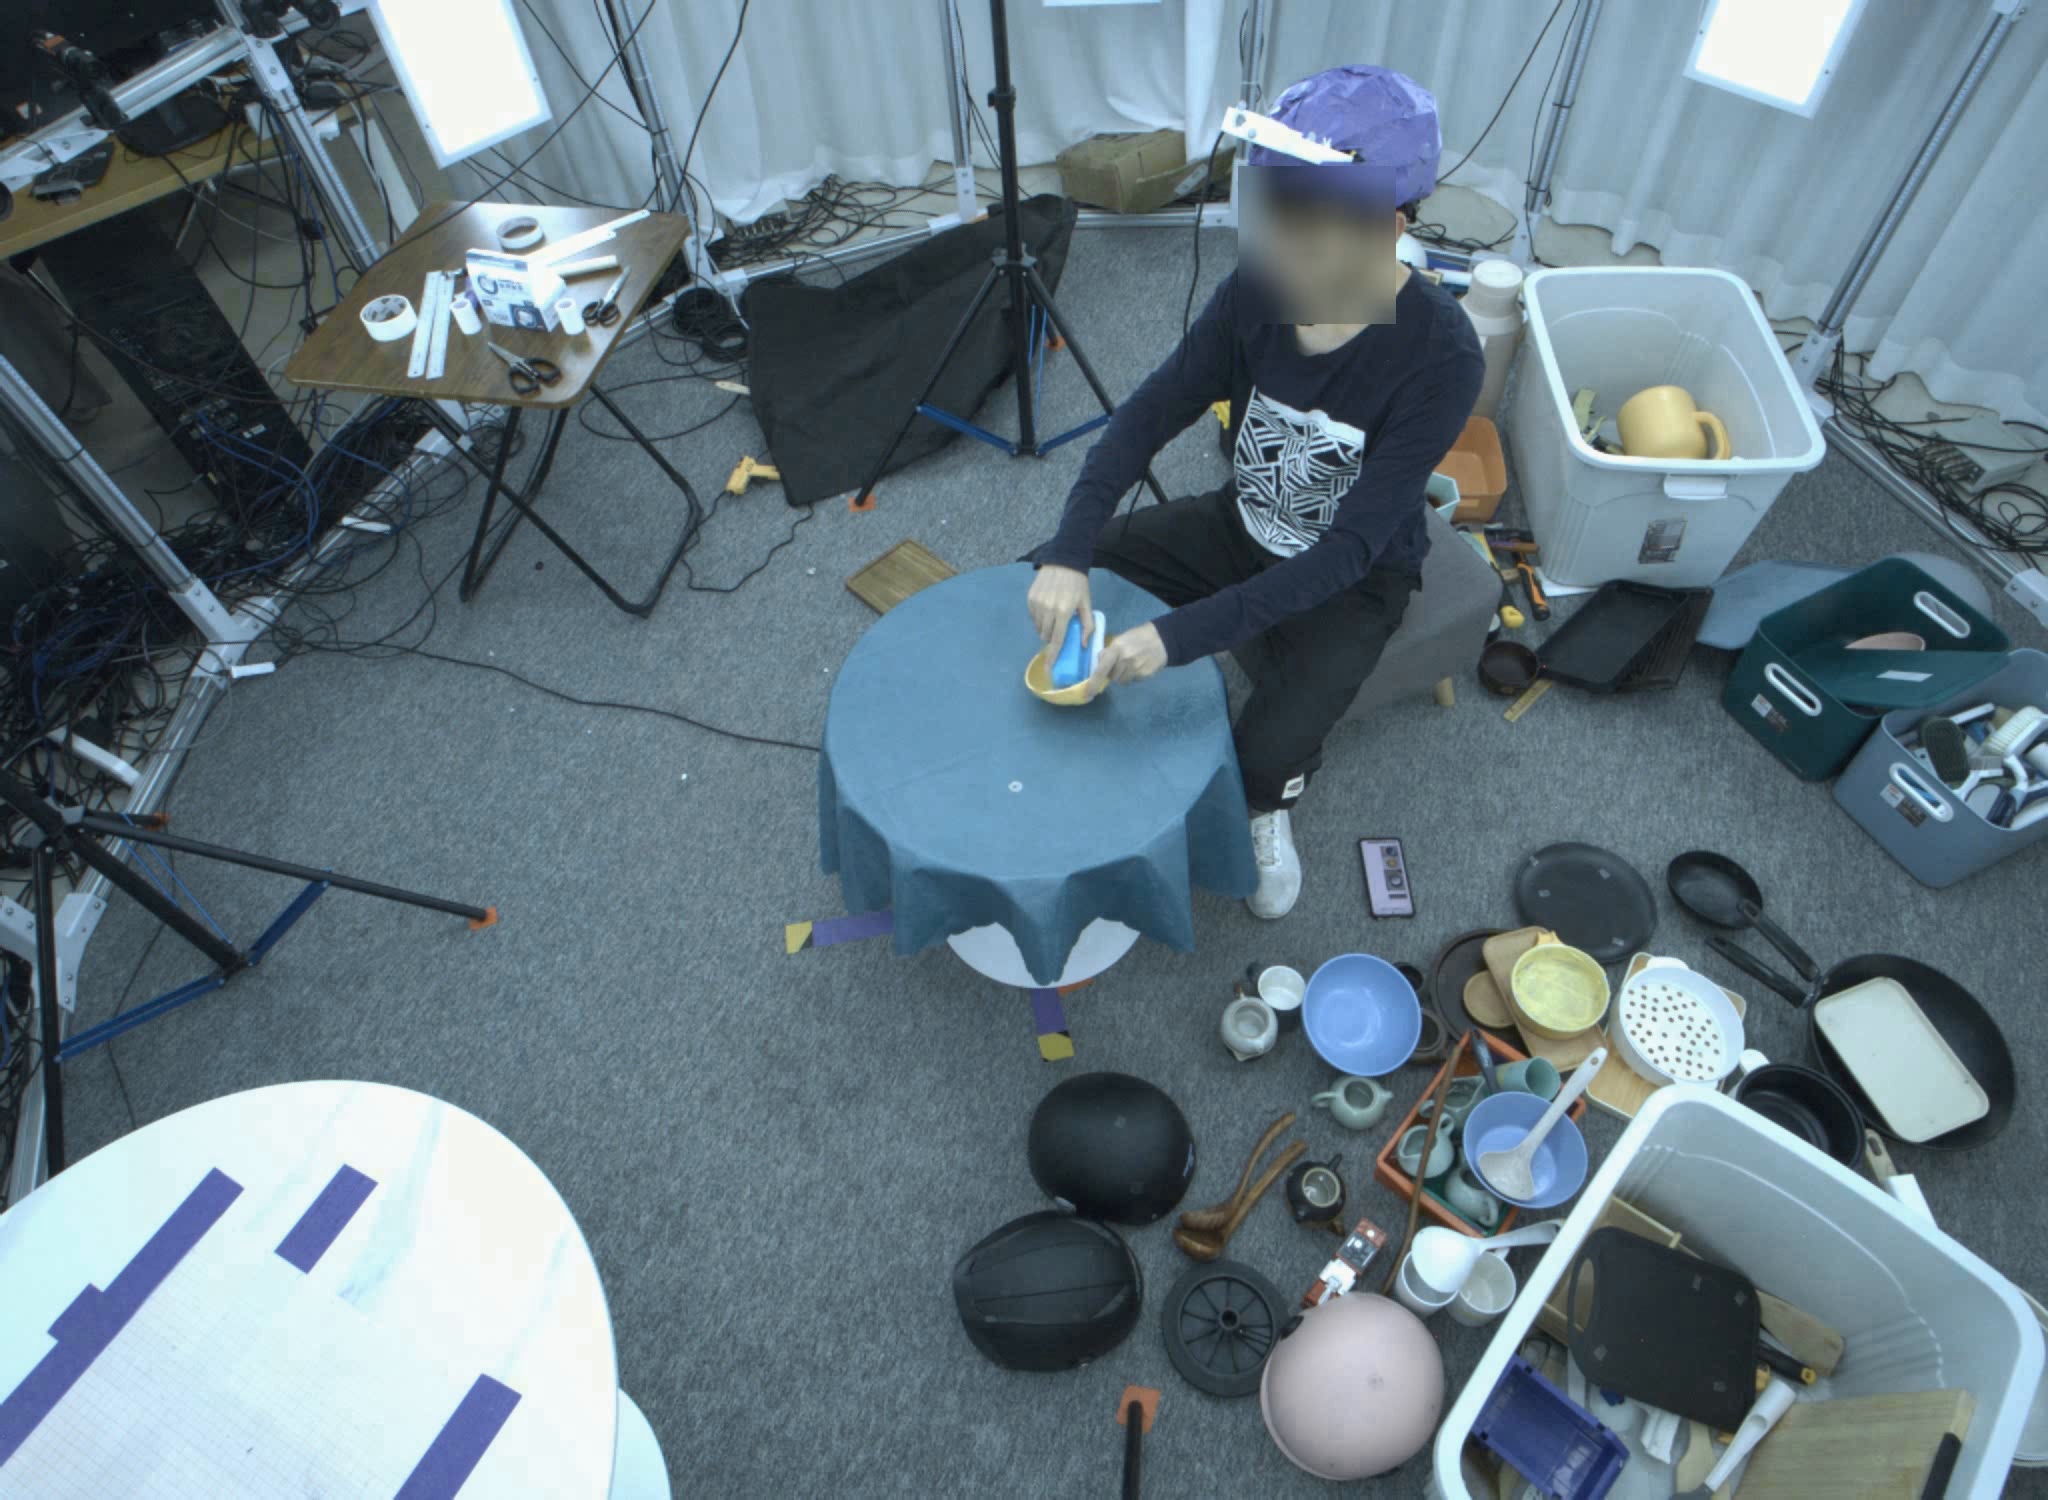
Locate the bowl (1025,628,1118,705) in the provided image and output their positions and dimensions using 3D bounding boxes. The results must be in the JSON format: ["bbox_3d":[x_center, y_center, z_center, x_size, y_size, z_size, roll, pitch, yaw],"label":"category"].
[{"bbox_3d":[0.079,-0.112,1.806,0.144,0.061,0.144,-17,40,16],"label":"bowl"}]

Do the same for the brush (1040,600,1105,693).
[{"bbox_3d":[0.066,-0.151,1.780,0.083,0.057,0.143,5,82,19],"label":"brush"}]
